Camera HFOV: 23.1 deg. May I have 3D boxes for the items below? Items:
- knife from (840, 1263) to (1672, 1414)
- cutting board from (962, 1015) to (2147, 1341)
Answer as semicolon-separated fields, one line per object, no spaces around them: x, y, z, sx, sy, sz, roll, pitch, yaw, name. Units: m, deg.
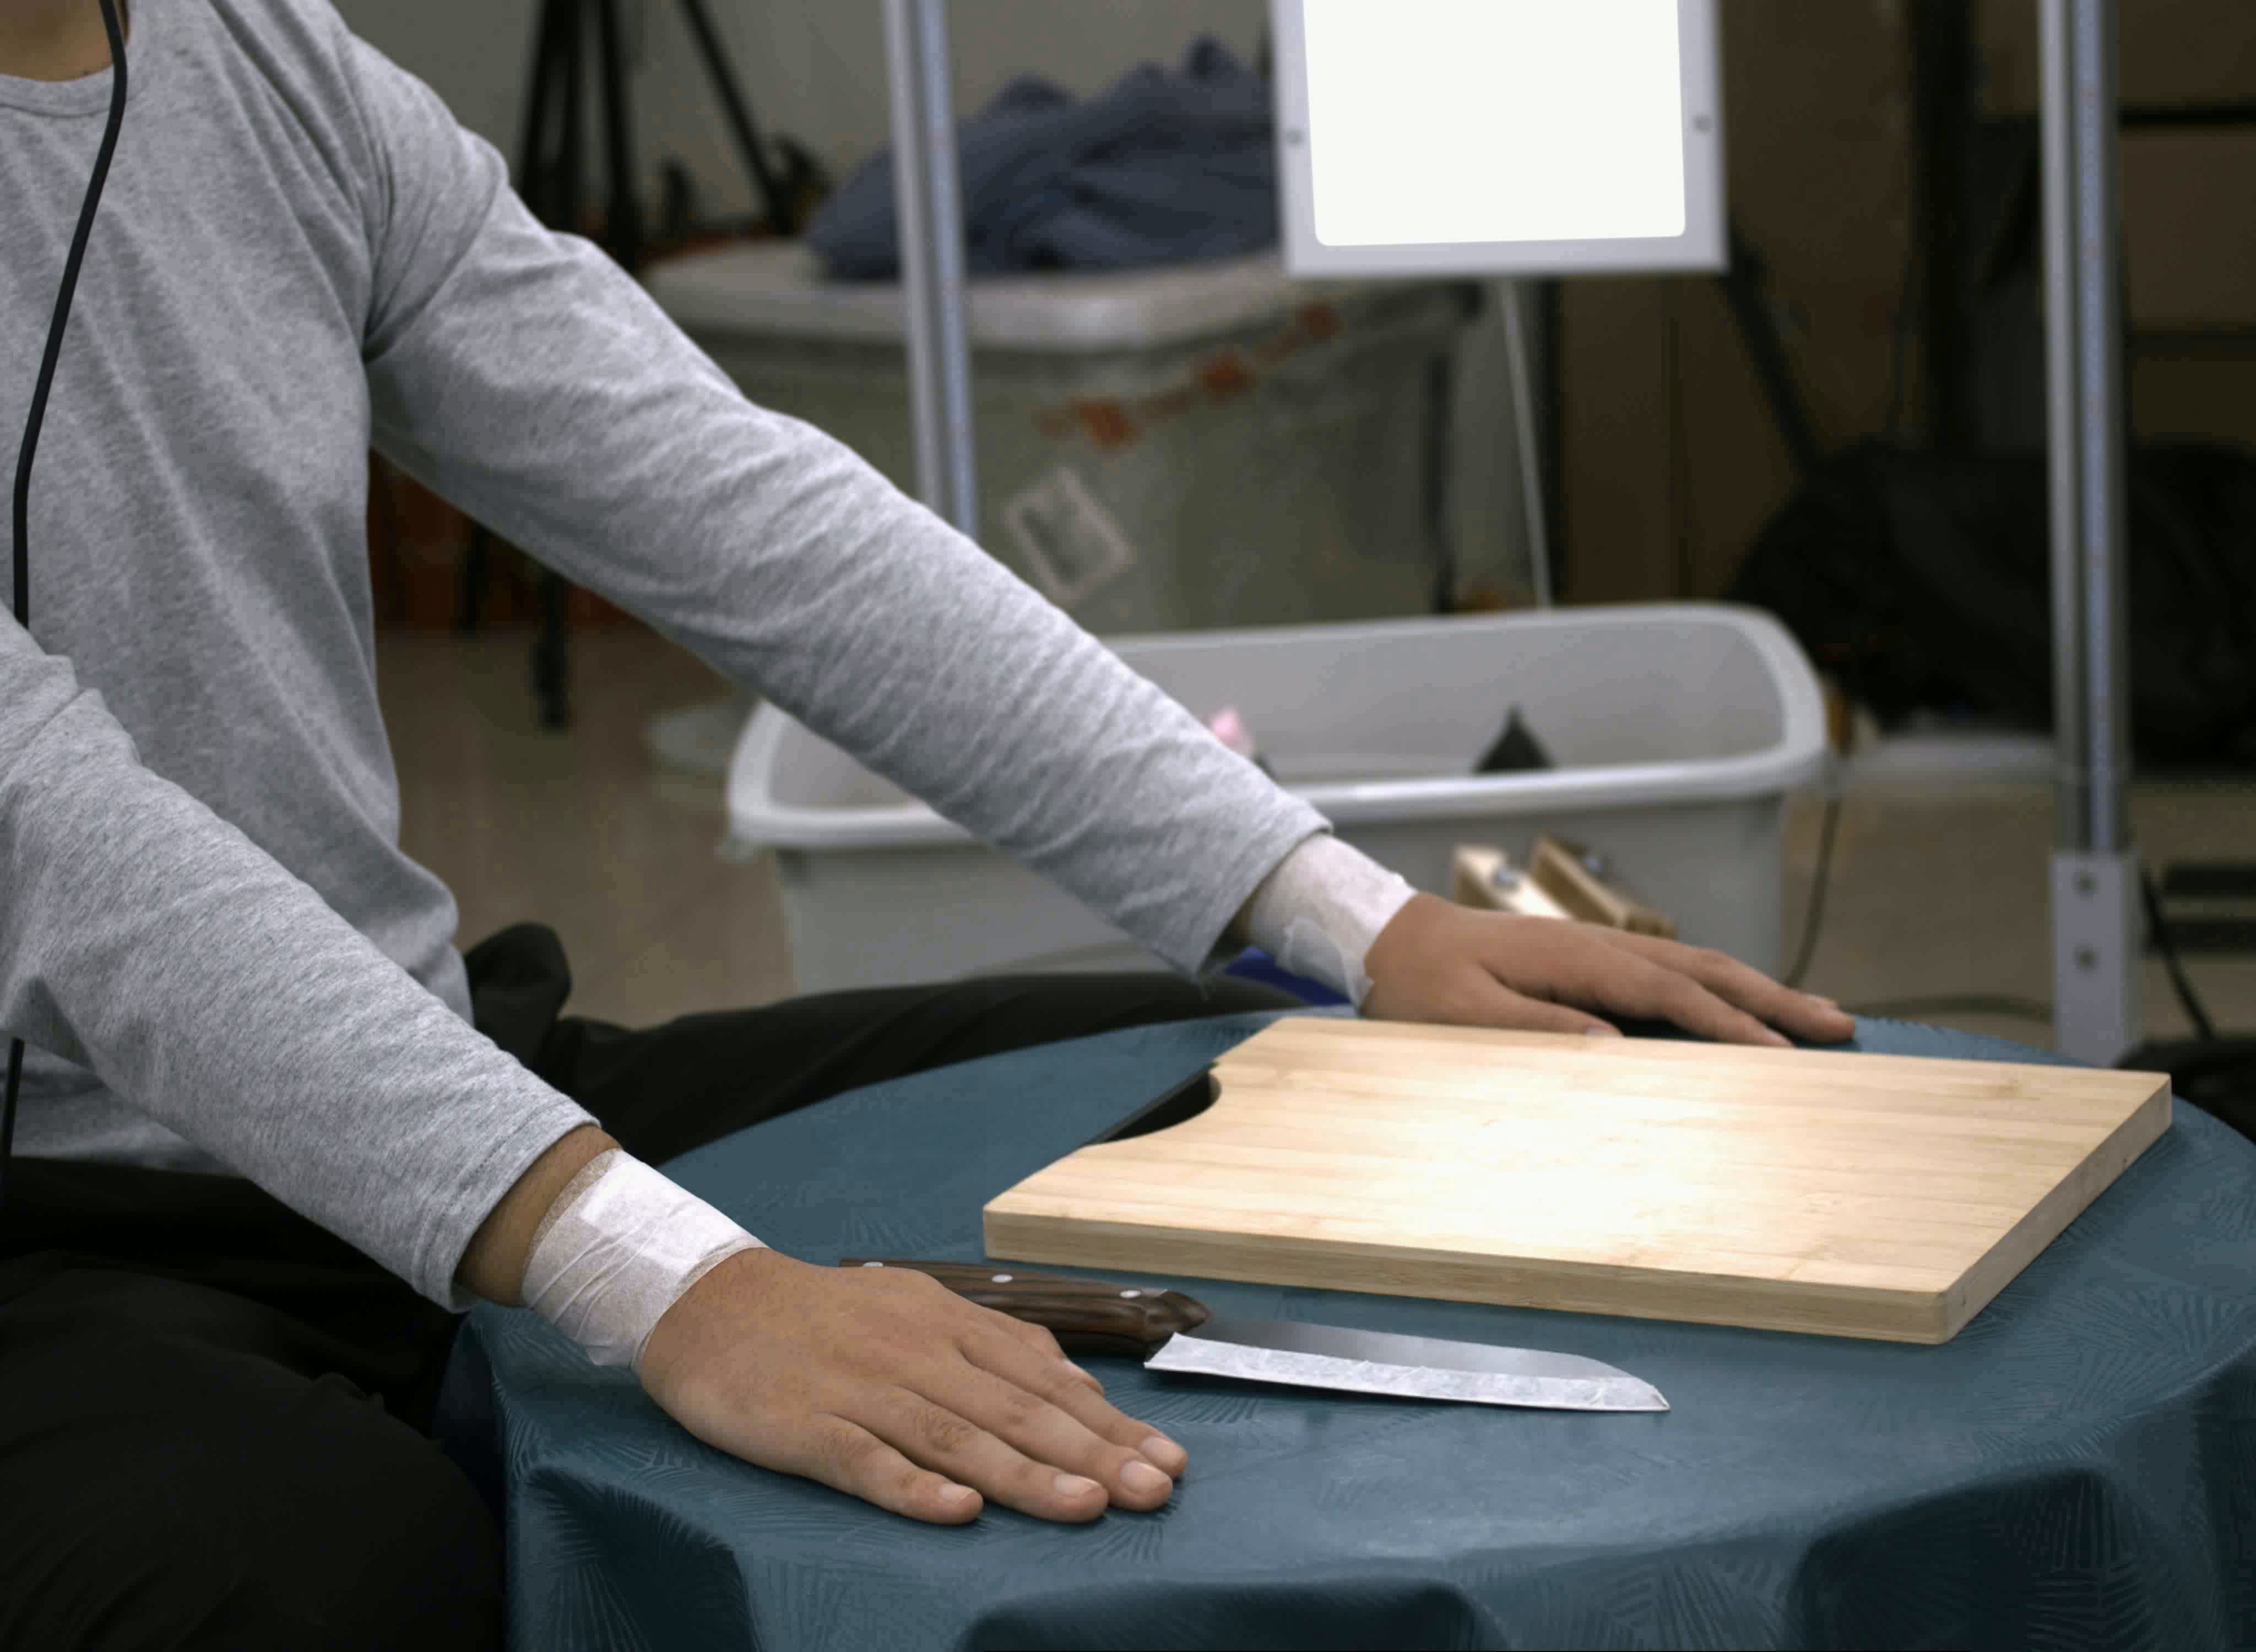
0.035;0.162;1.715;0.294;0.020;0.049;5;22;28;knife
0.150;0.115;1.862;0.355;0.023;0.245;2;15;29;cutting board
